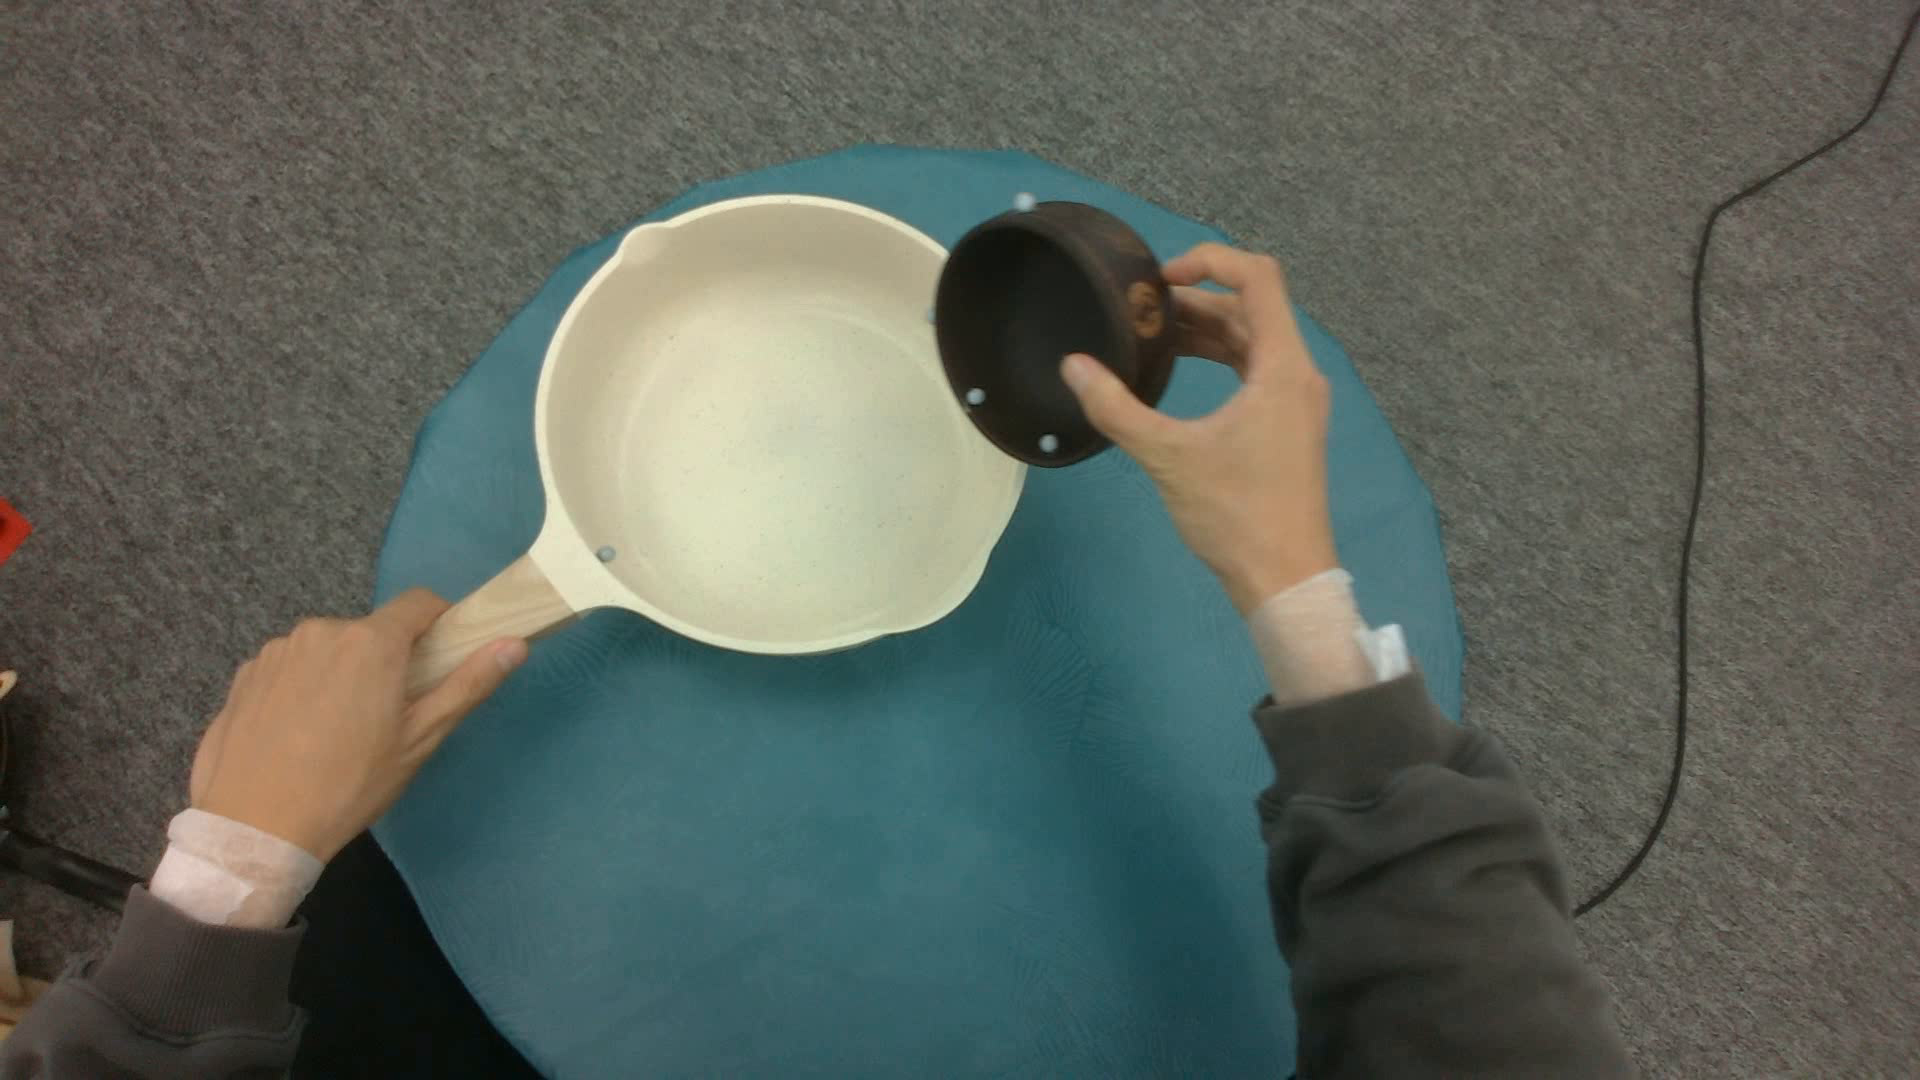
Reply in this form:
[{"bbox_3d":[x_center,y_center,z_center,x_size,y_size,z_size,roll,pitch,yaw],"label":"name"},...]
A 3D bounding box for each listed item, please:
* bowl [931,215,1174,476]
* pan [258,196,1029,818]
[{"bbox_3d":[0.050,-0.096,0.647,0.070,0.117,0.118,-32,76,-38],"label":"bowl"},{"bbox_3d":[-0.159,-0.001,0.727,0.436,0.101,0.263,-38,81,-13],"label":"pan"}]
